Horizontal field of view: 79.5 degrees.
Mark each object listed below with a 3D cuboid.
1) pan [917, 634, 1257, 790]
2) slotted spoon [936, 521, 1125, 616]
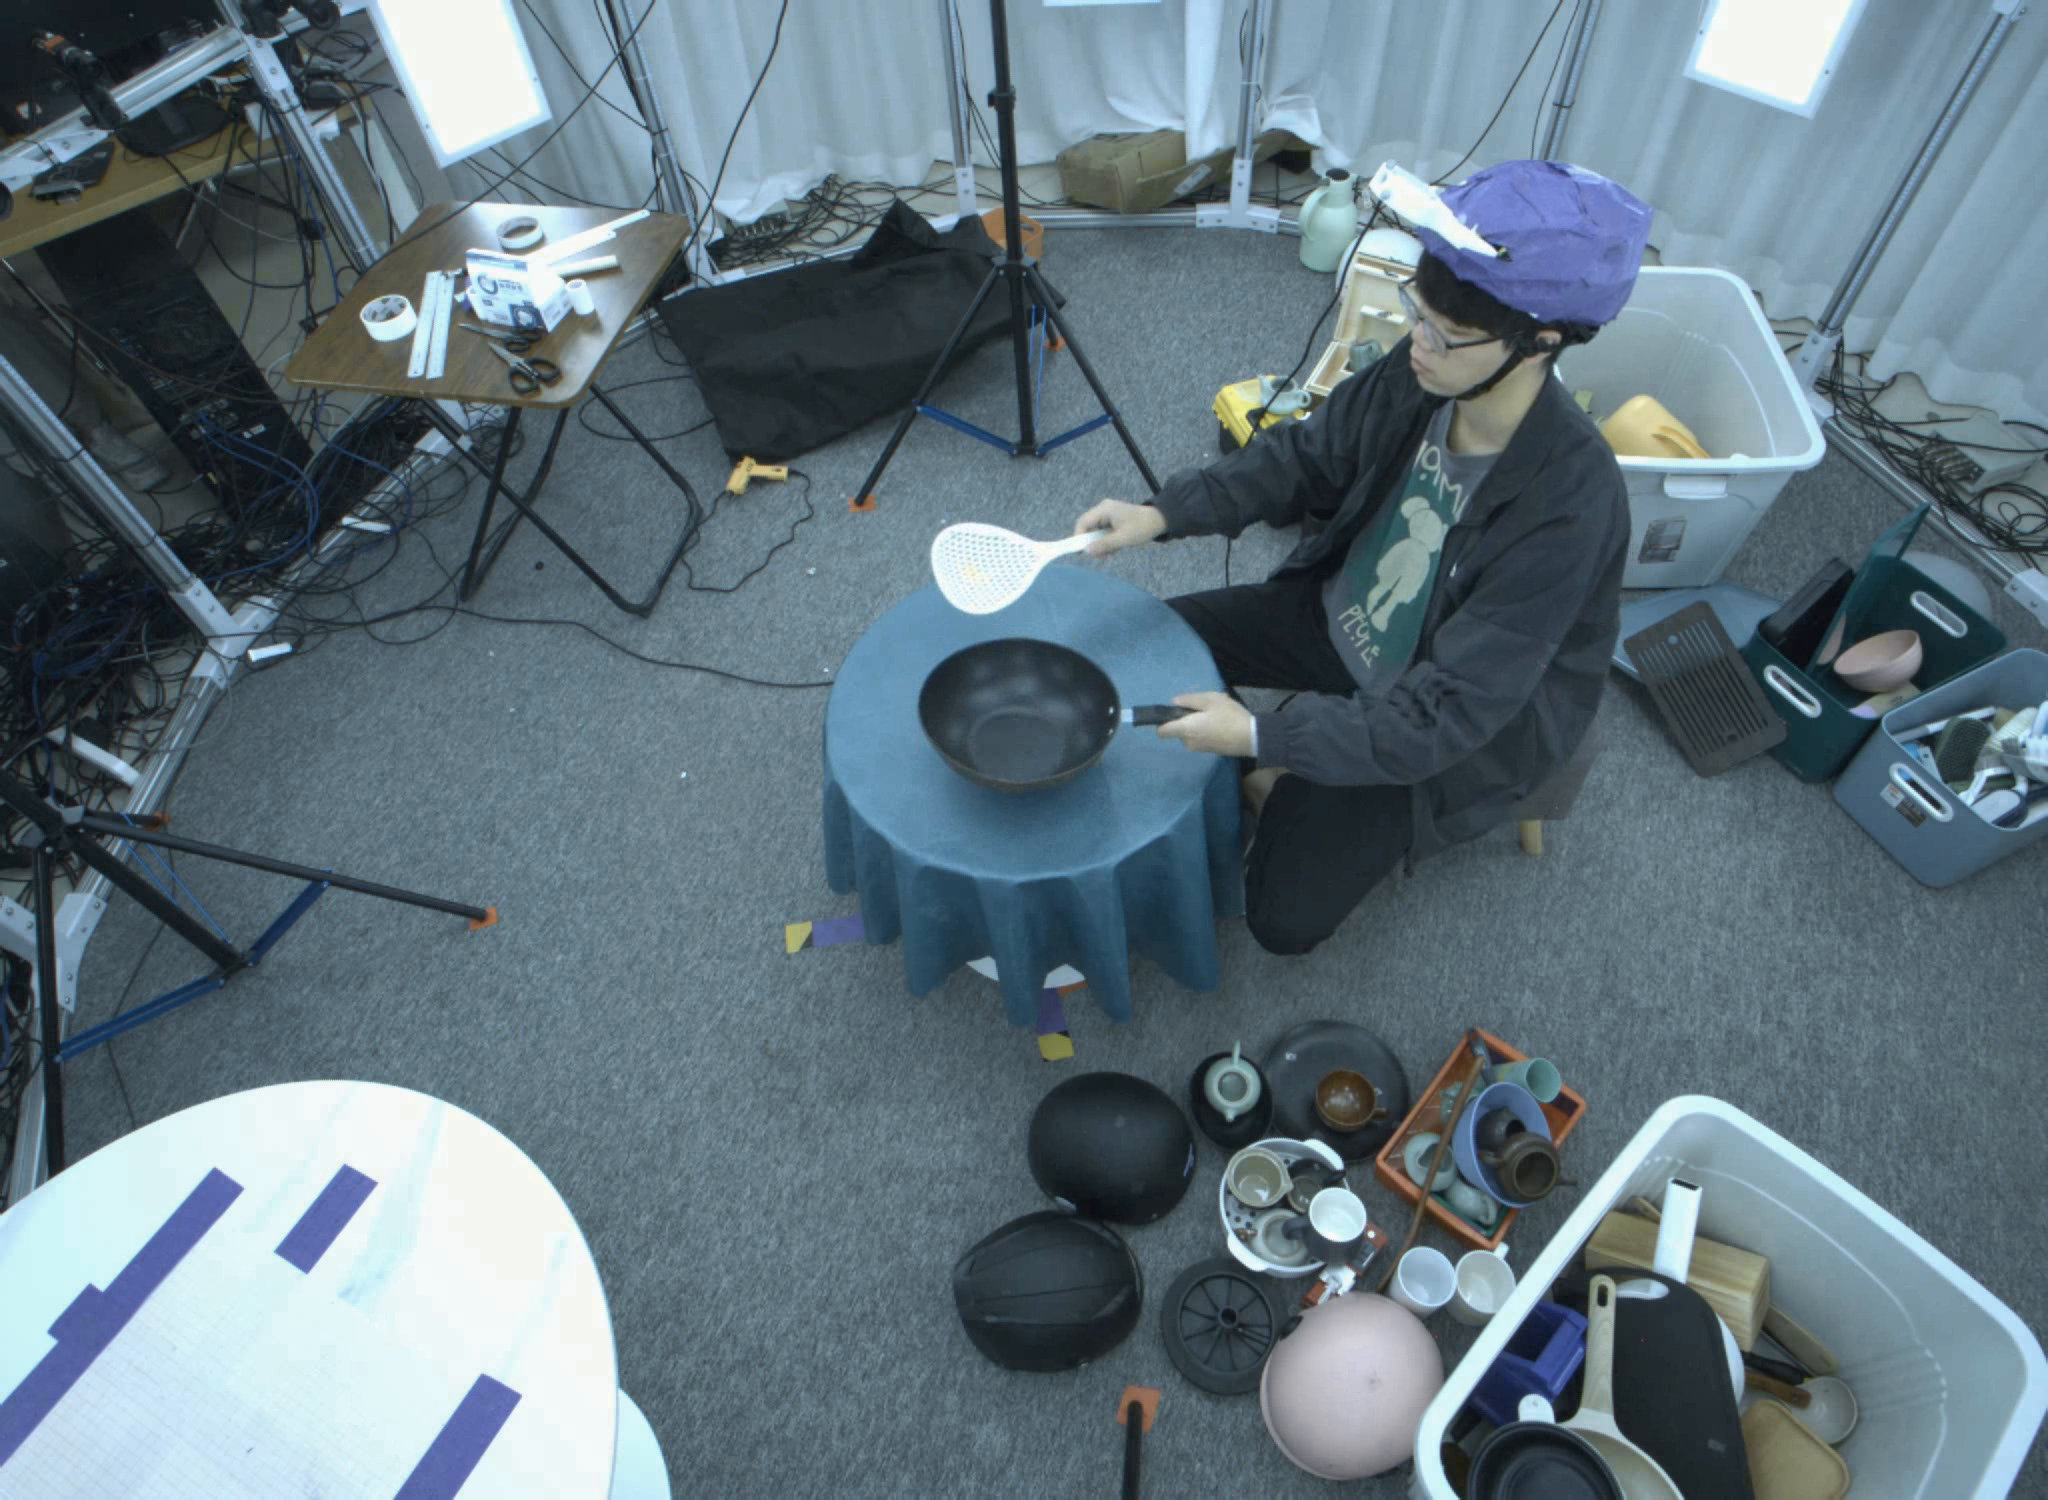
[{"bbox_3d":[0.085,-0.035,1.699,0.464,0.087,0.285,4,46,-2],"label":"pan"},{"bbox_3d":[0.021,-0.283,1.773,0.353,0.049,0.137,-20,91,-29],"label":"slotted spoon"}]
